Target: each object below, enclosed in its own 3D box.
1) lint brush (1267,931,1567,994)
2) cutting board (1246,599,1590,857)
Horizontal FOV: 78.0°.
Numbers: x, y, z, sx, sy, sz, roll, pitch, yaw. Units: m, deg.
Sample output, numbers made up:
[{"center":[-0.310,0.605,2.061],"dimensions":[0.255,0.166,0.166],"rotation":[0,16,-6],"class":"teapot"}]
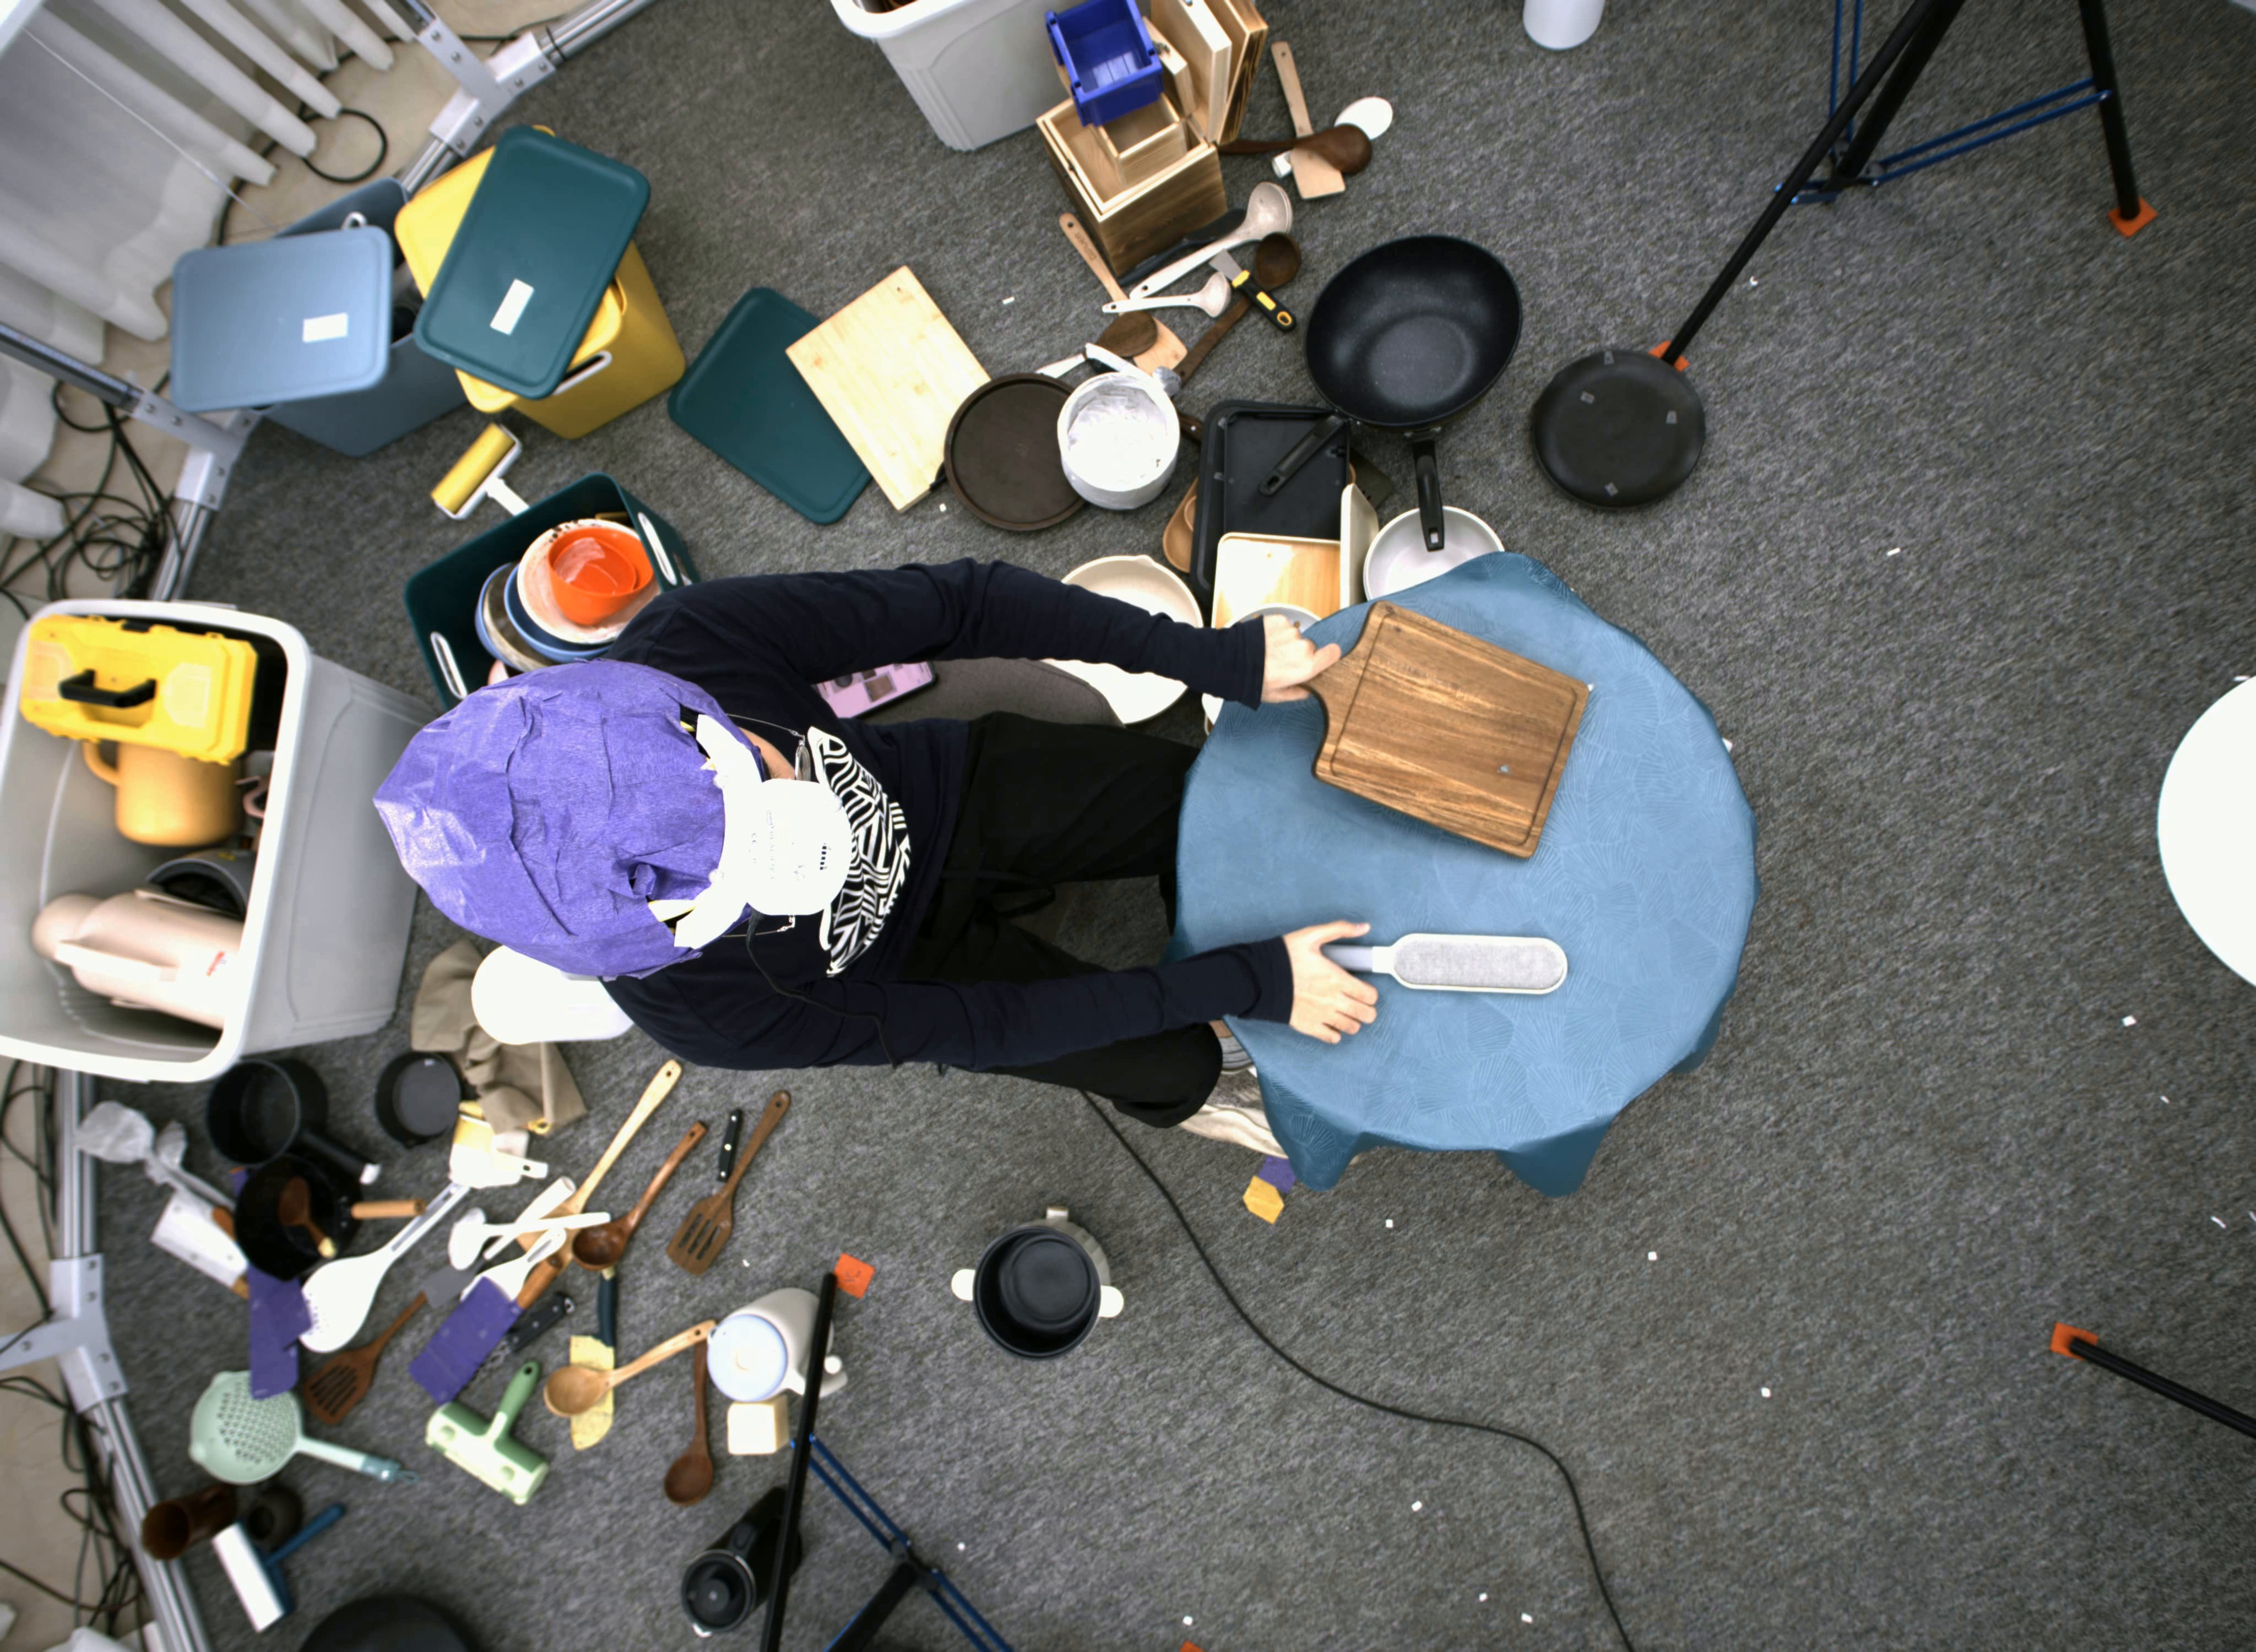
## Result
[{"center":[0.299,0.137,1.437],"dimensions":[0.310,0.021,0.060],"rotation":[2,92,11],"class":"lint brush"},{"center":[0.287,-0.117,1.403],"dimensions":[0.352,0.023,0.201],"rotation":[20,91,-7],"class":"cutting board"}]
